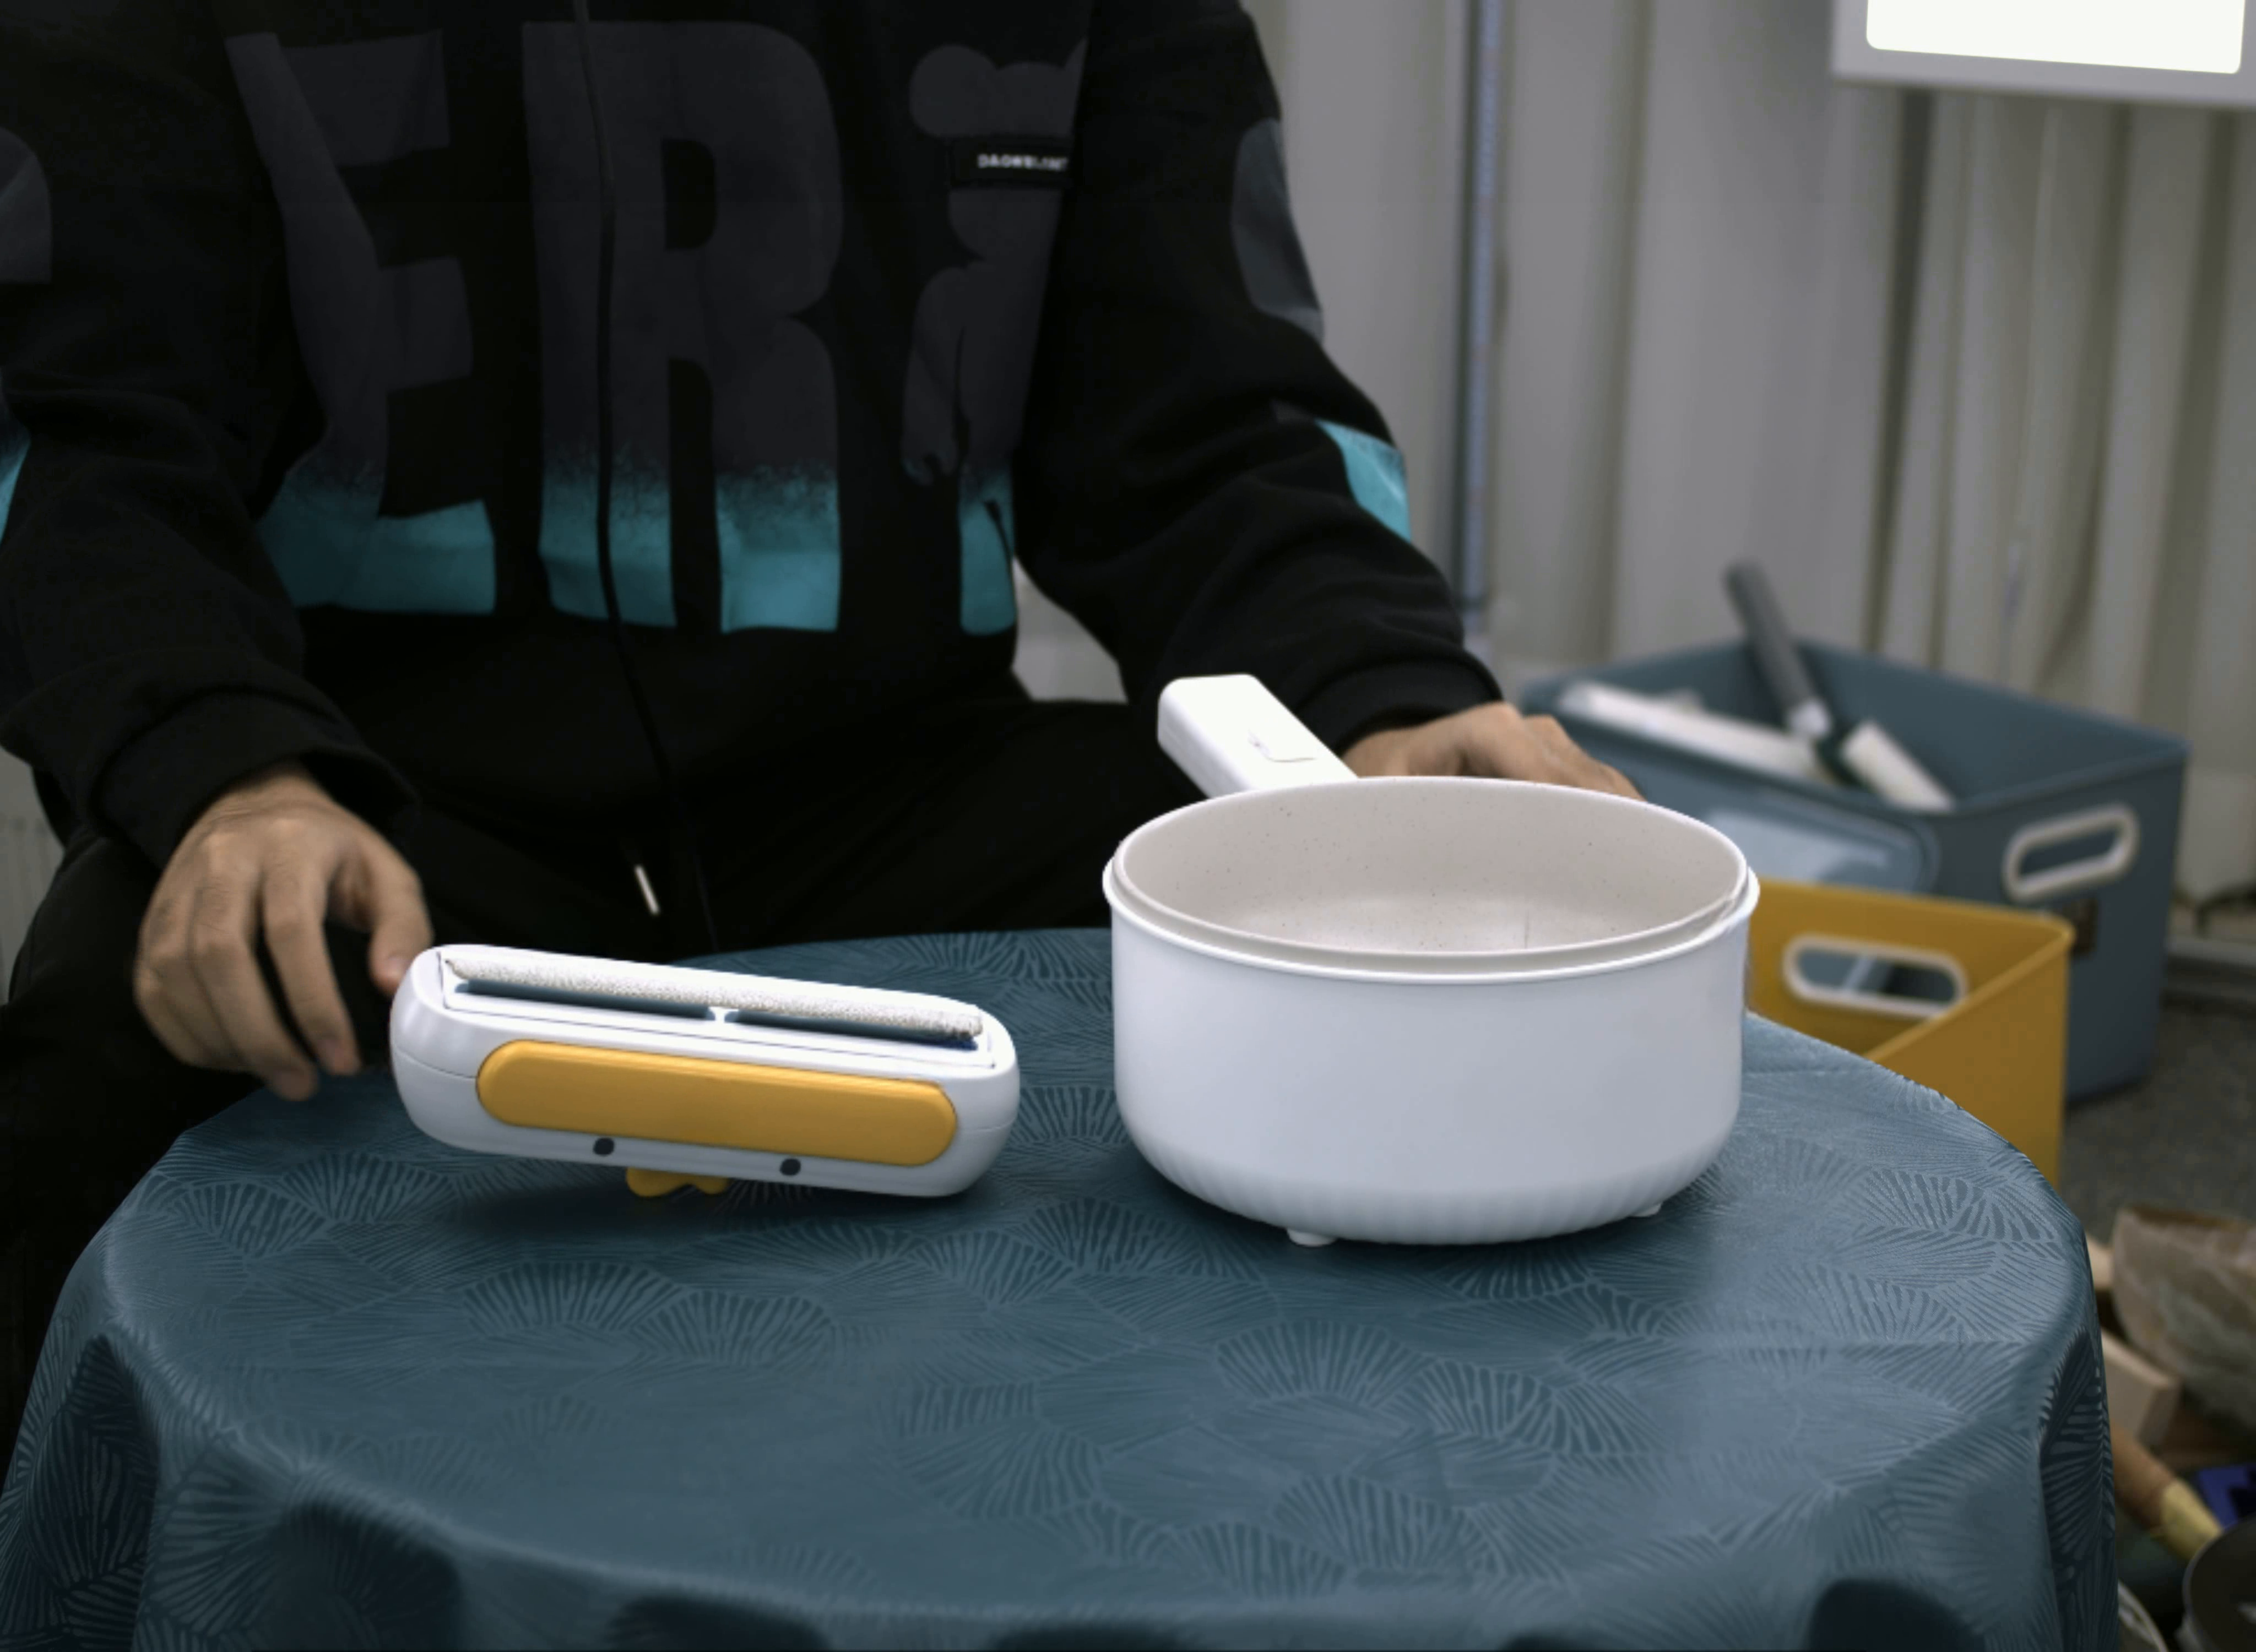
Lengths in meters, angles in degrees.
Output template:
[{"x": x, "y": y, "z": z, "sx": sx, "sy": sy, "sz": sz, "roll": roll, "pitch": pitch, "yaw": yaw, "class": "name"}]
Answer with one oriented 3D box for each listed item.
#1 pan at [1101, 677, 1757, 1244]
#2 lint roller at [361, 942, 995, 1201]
[{"x": 0.073, "y": 0.039, "z": 1.696, "sx": 0.201, "sy": 0.103, "sz": 0.351, "roll": -4, "pitch": 16, "yaw": -14, "class": "pan"}, {"x": -0.144, "y": 0.067, "z": 1.653, "sx": 0.193, "sy": 0.075, "sz": 0.191, "roll": 3, "pitch": 13, "yaw": -9, "class": "lint roller"}]
